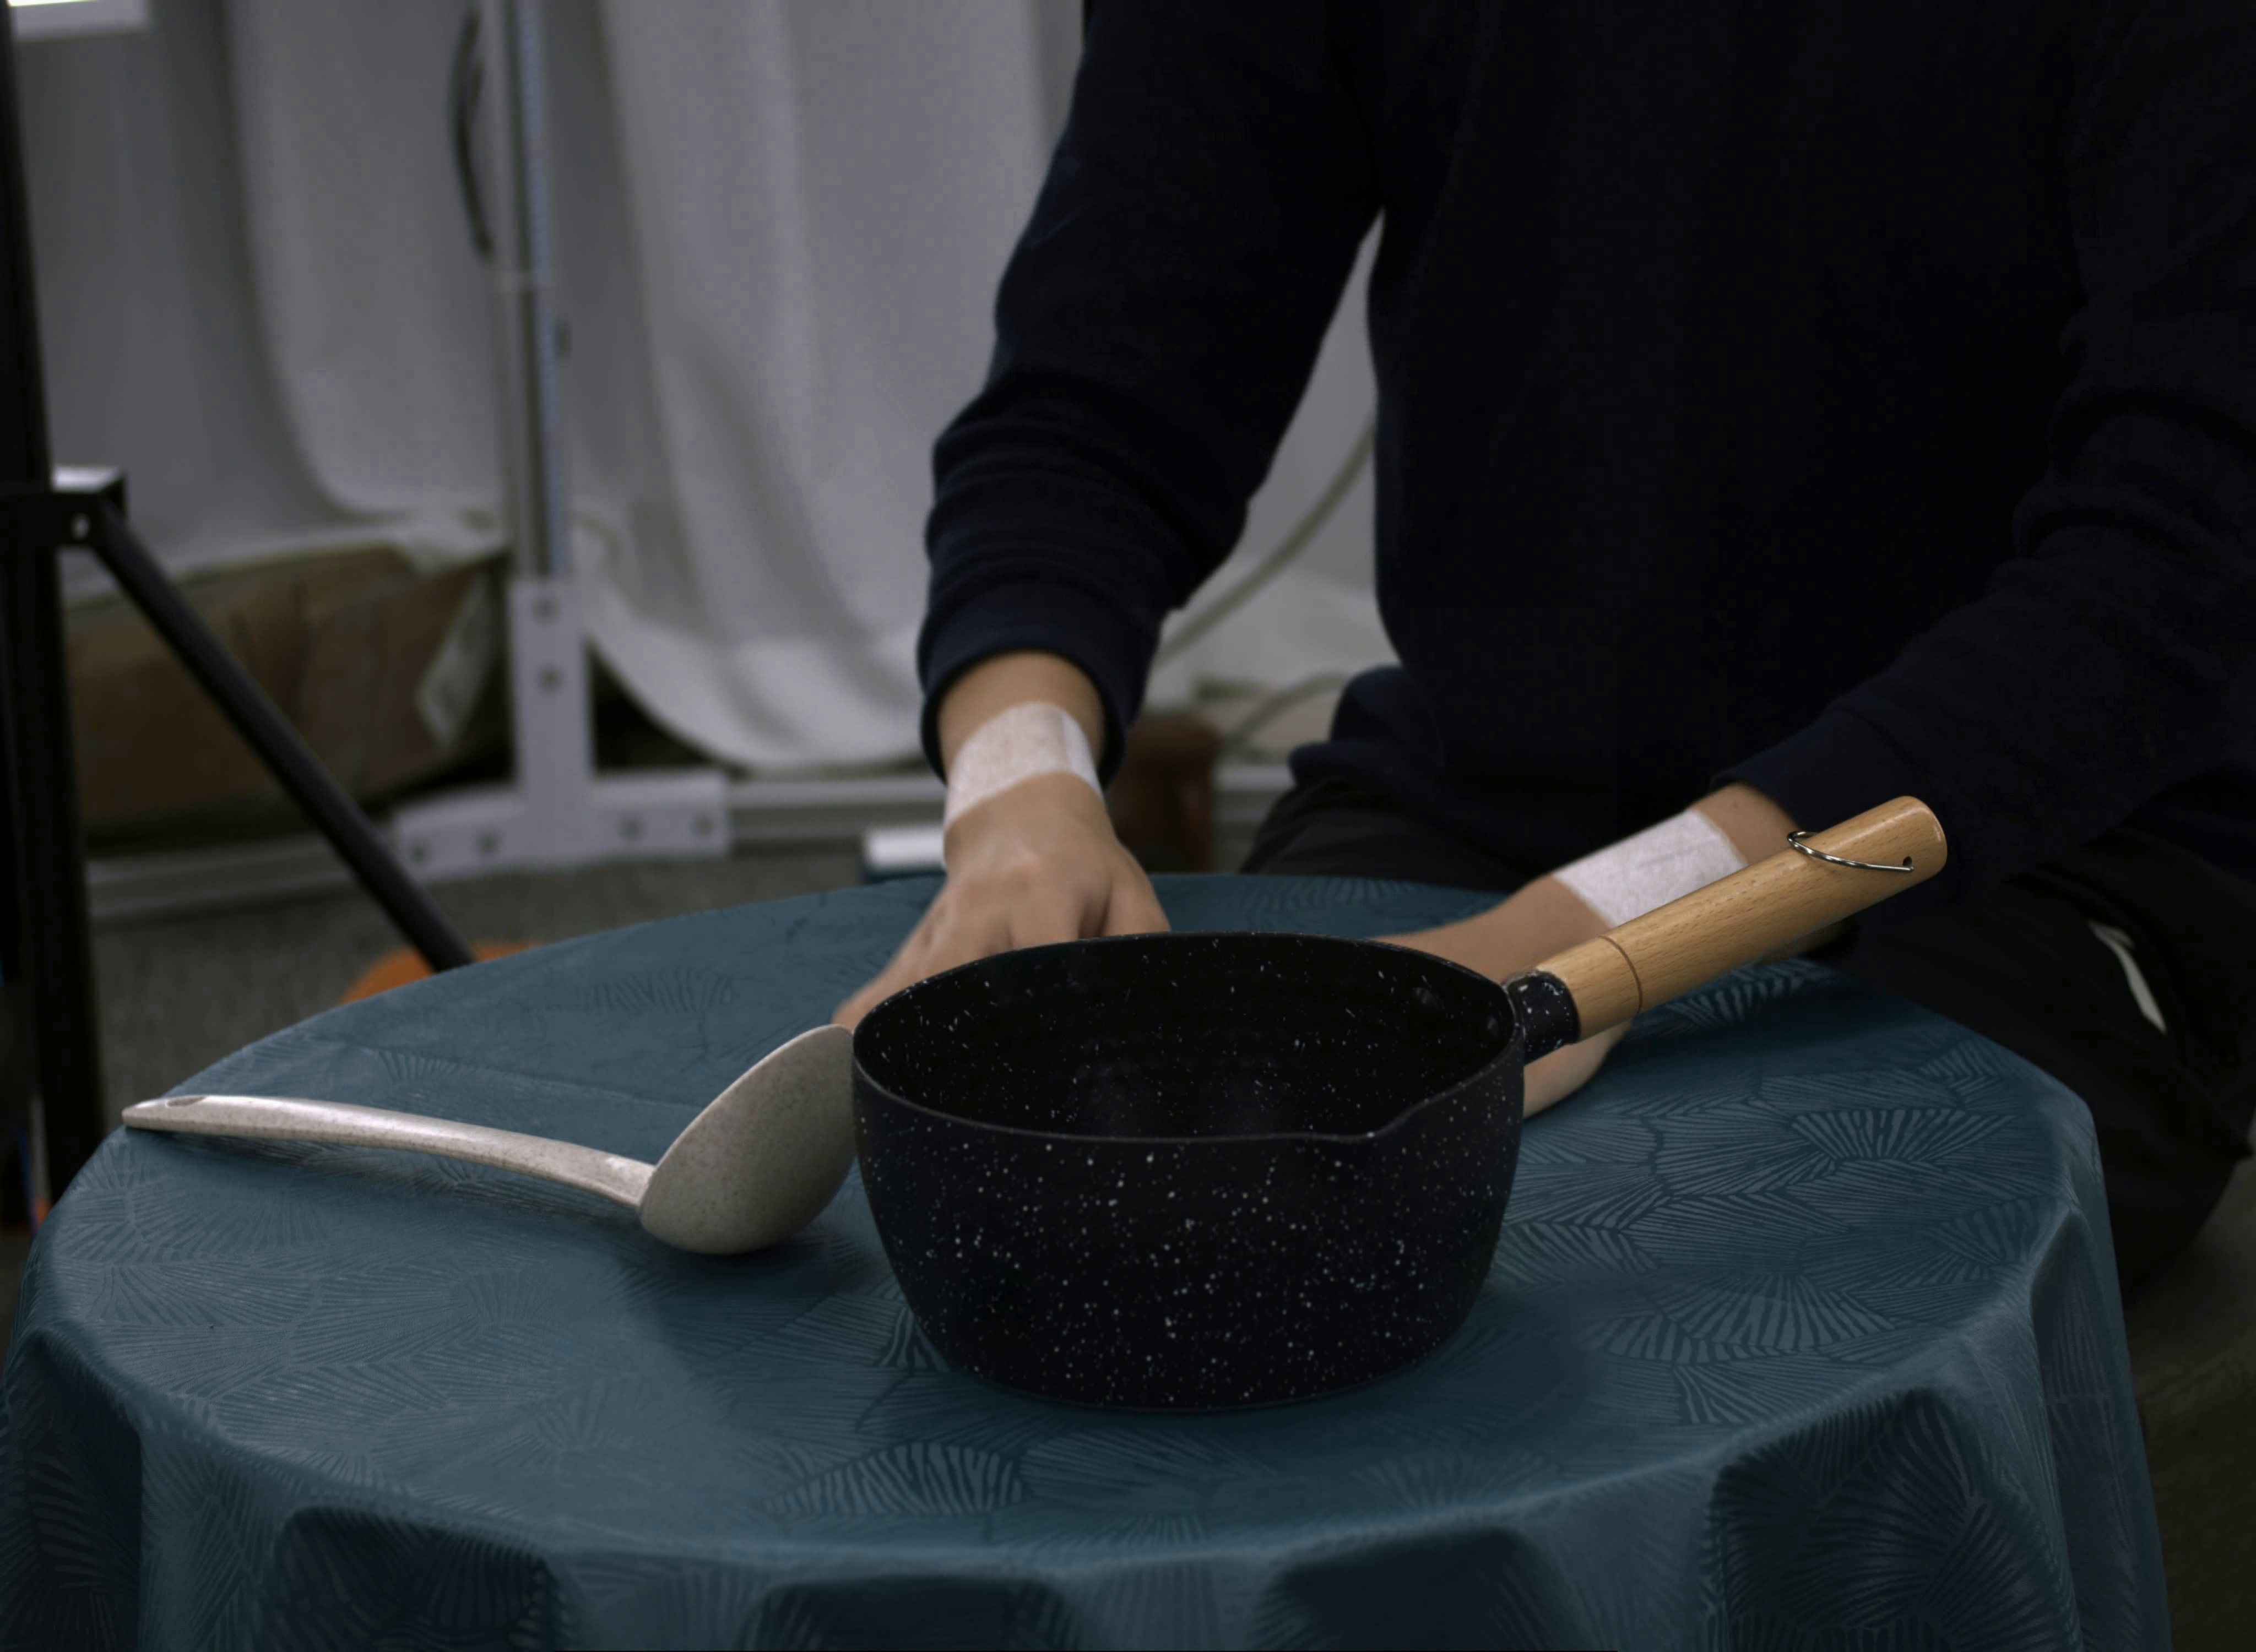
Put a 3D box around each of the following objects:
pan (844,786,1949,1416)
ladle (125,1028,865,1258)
[{"bbox_3d":[0.086,0.071,1.478,0.336,0.108,0.212,-12,17,-26],"label":"pan"},{"bbox_3d":[-0.198,0.075,1.581,0.280,0.069,0.088,9,24,34],"label":"ladle"}]
